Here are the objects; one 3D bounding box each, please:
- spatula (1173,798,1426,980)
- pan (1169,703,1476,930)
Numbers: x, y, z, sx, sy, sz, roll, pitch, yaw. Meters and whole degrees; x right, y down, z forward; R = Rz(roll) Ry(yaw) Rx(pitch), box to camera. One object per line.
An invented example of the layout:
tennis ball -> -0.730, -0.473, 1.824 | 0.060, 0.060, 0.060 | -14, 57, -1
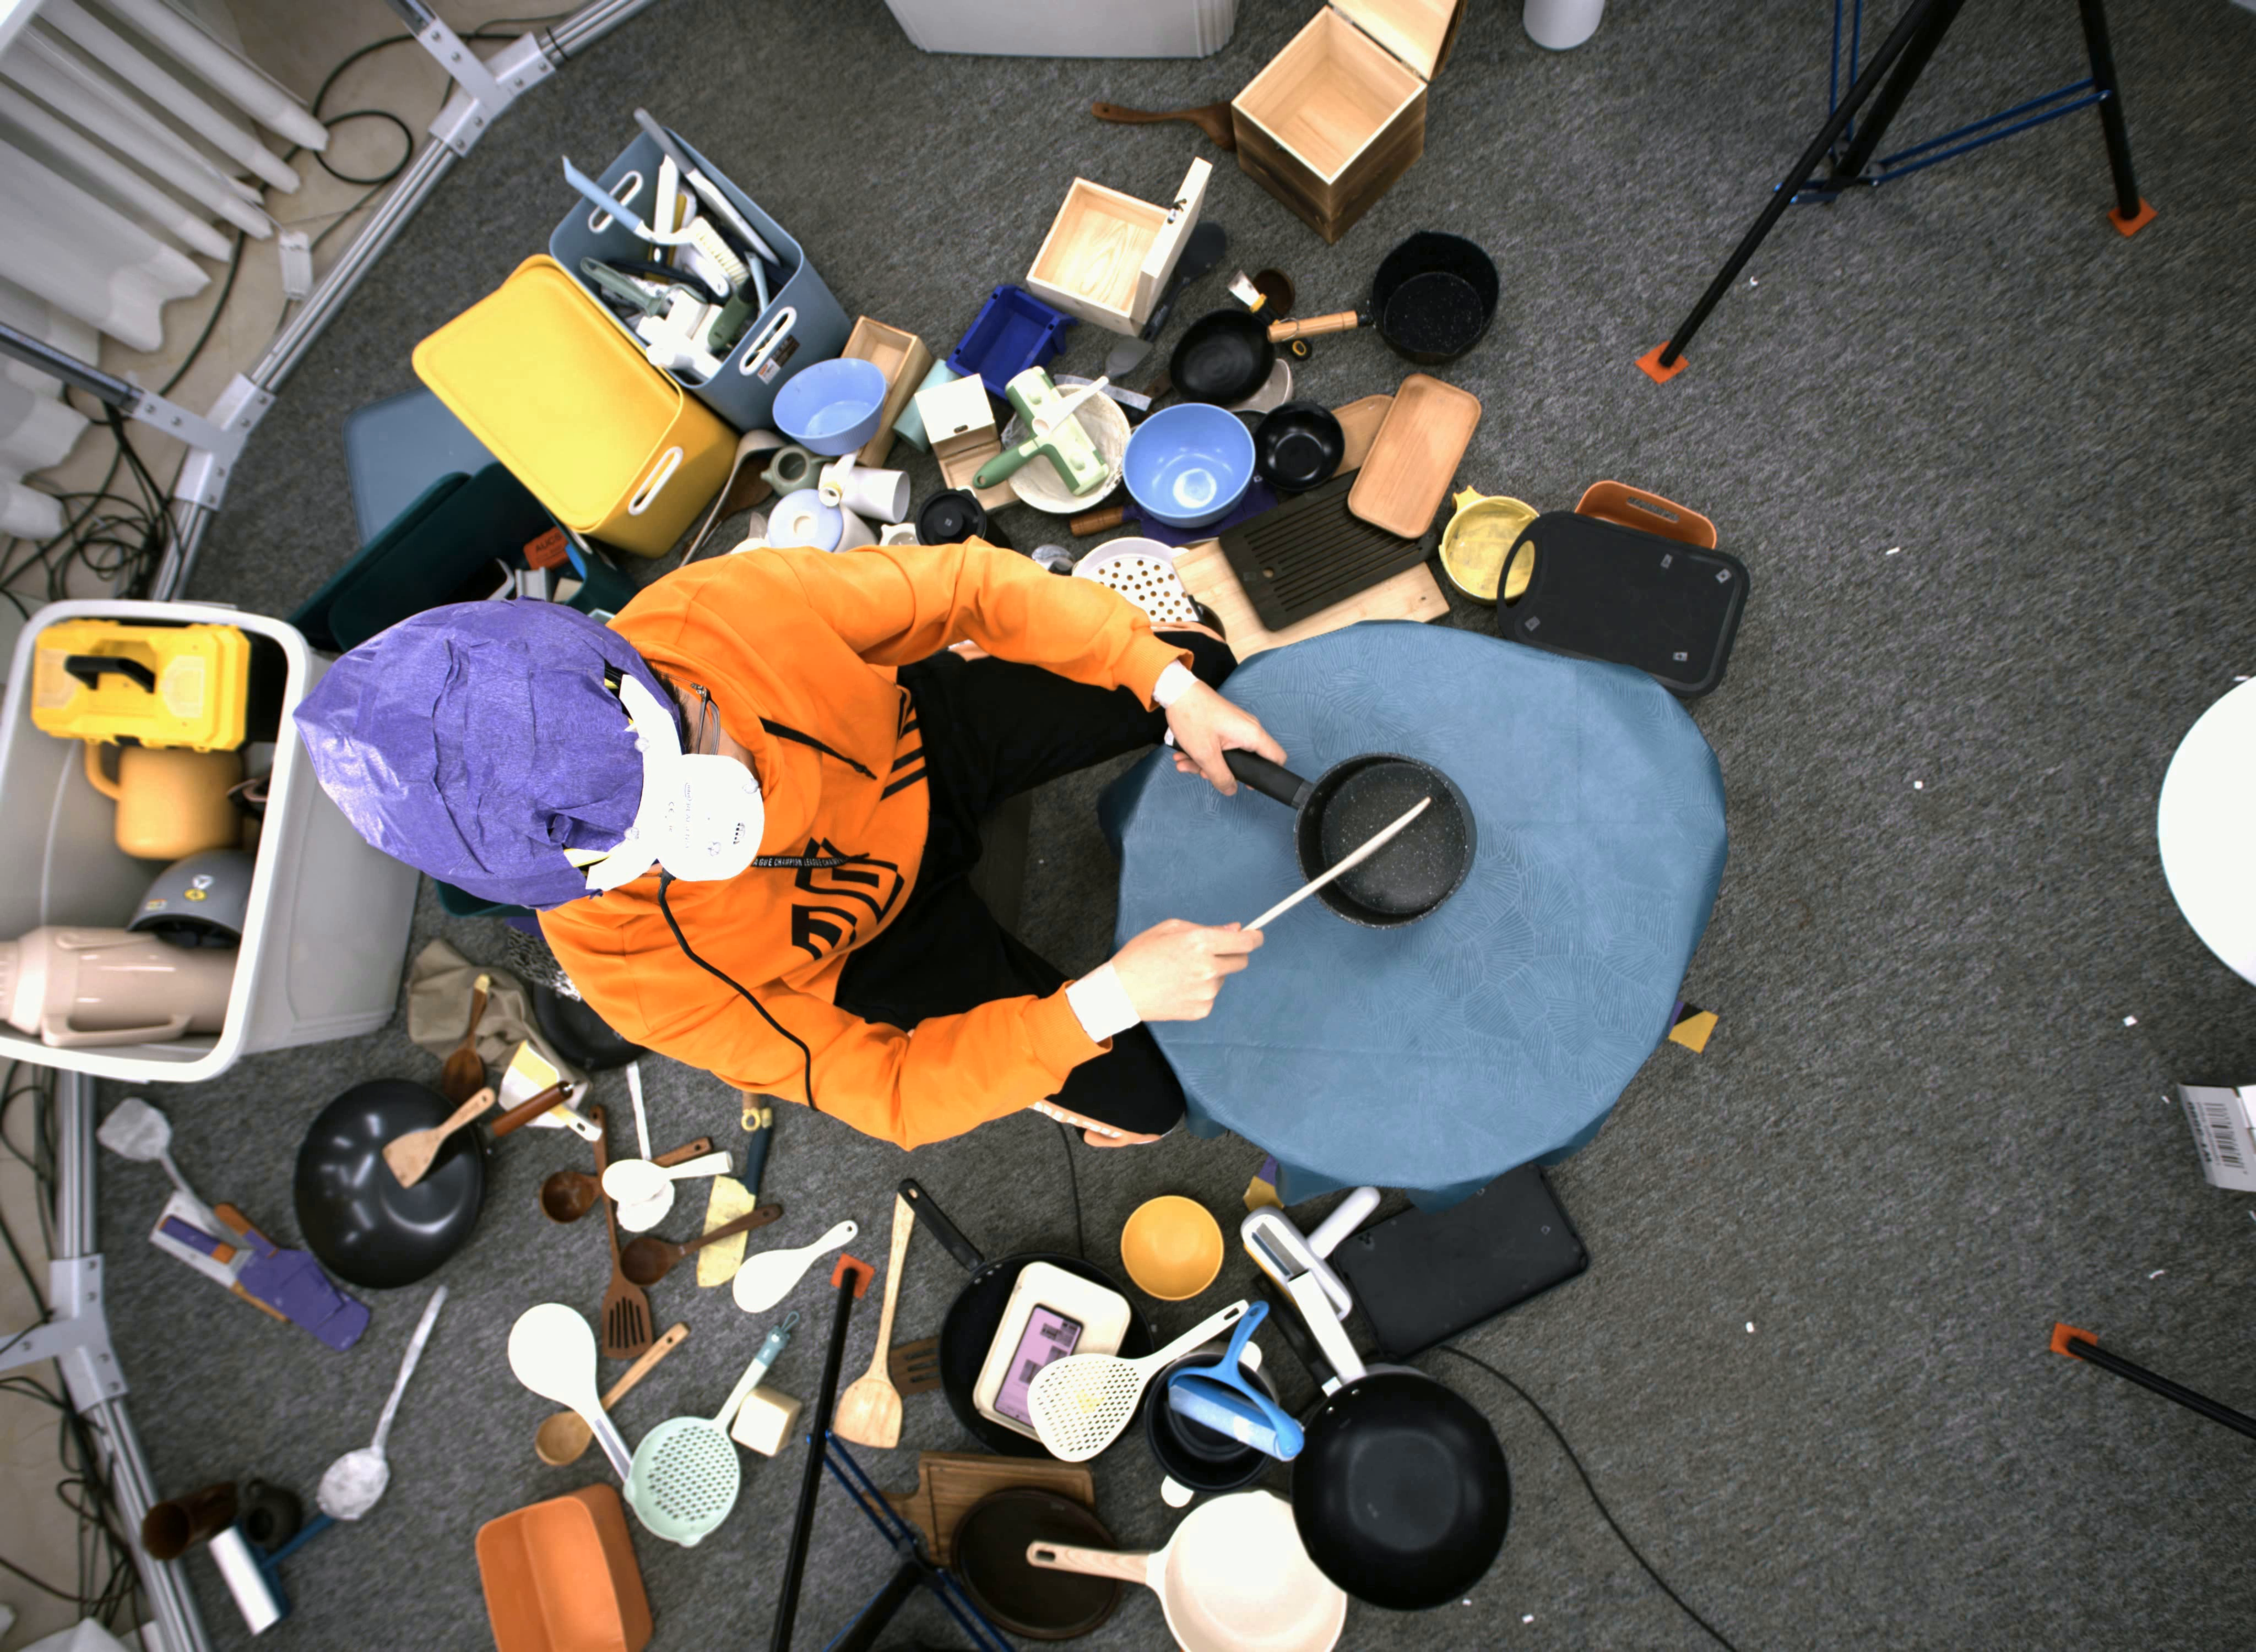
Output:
spatula -> 0.161, 0.060, 1.302 | 0.291, 0.073, 0.010 | -34, 83, -9
pan -> 0.191, -0.028, 1.379 | 0.327, 0.086, 0.174 | 32, 105, 16
